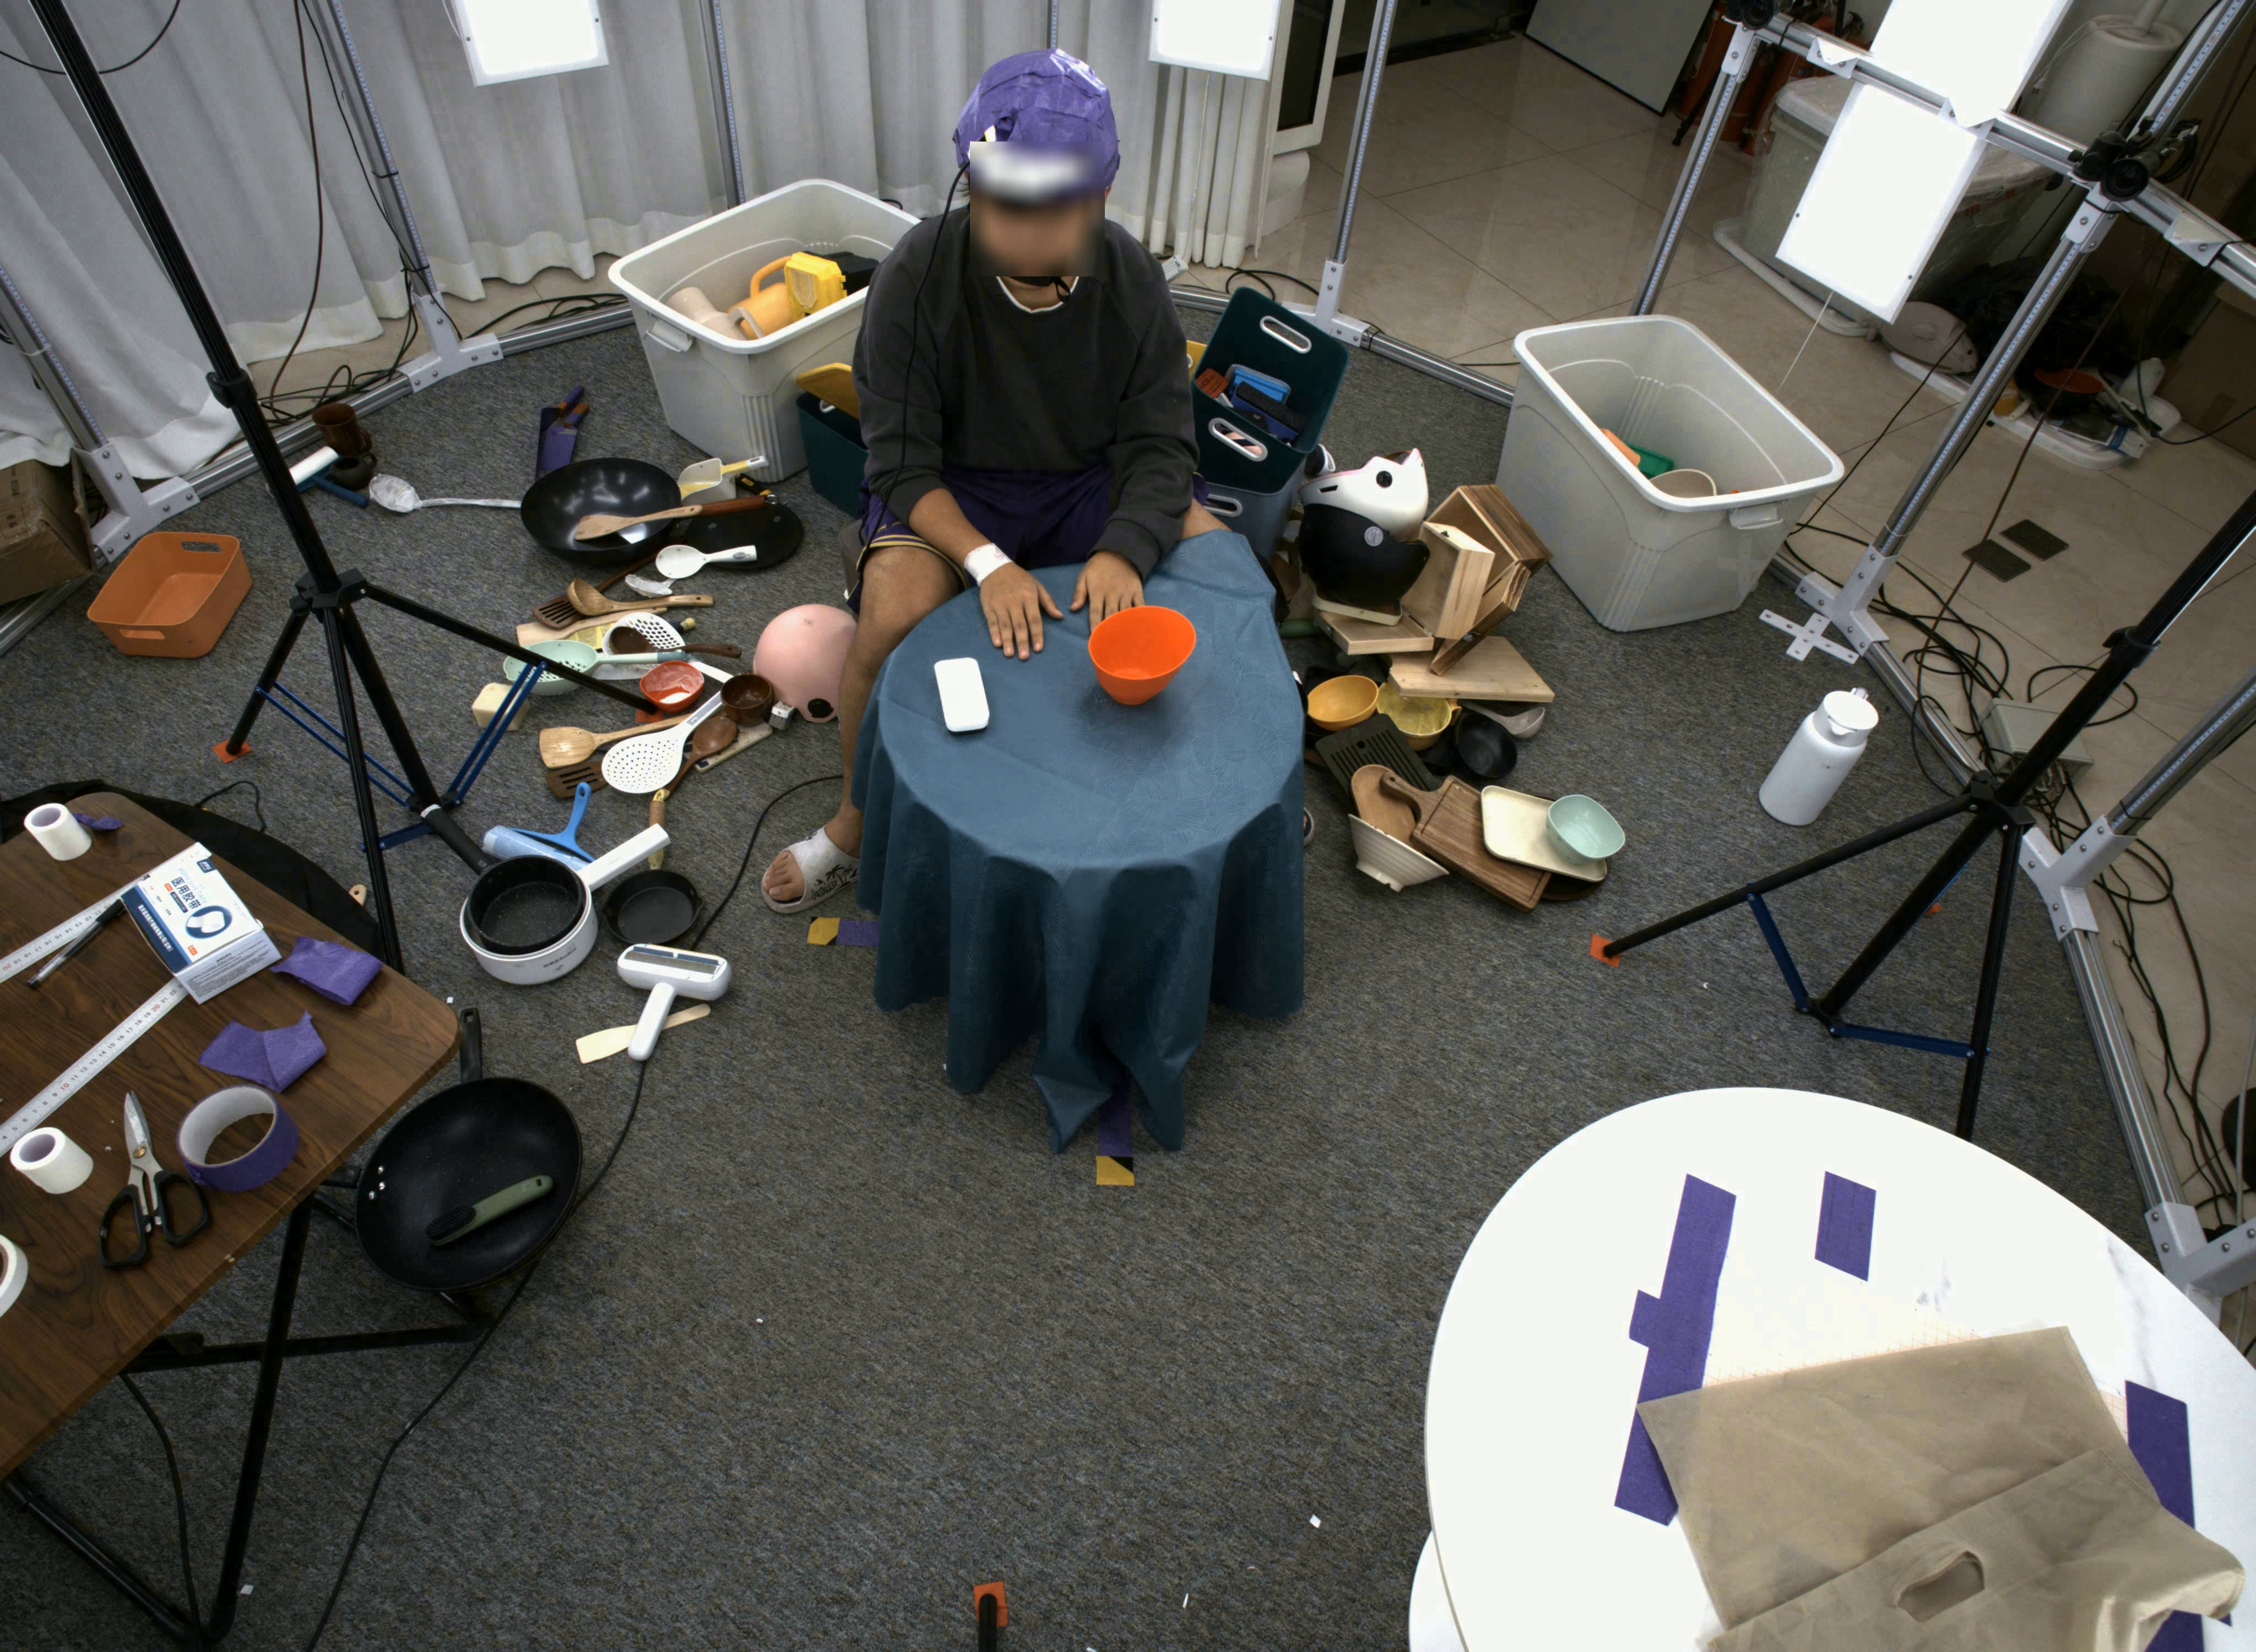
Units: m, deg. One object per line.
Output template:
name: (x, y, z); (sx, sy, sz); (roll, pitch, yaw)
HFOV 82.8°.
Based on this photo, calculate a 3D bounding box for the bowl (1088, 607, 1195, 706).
bowl: (0.017, -0.227, 1.801); (0.148, 0.102, 0.152); (1, 49, -2)

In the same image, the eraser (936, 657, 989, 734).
eraser: (-0.230, -0.185, 1.790); (0.063, 0.034, 0.134); (-6, 51, -10)
